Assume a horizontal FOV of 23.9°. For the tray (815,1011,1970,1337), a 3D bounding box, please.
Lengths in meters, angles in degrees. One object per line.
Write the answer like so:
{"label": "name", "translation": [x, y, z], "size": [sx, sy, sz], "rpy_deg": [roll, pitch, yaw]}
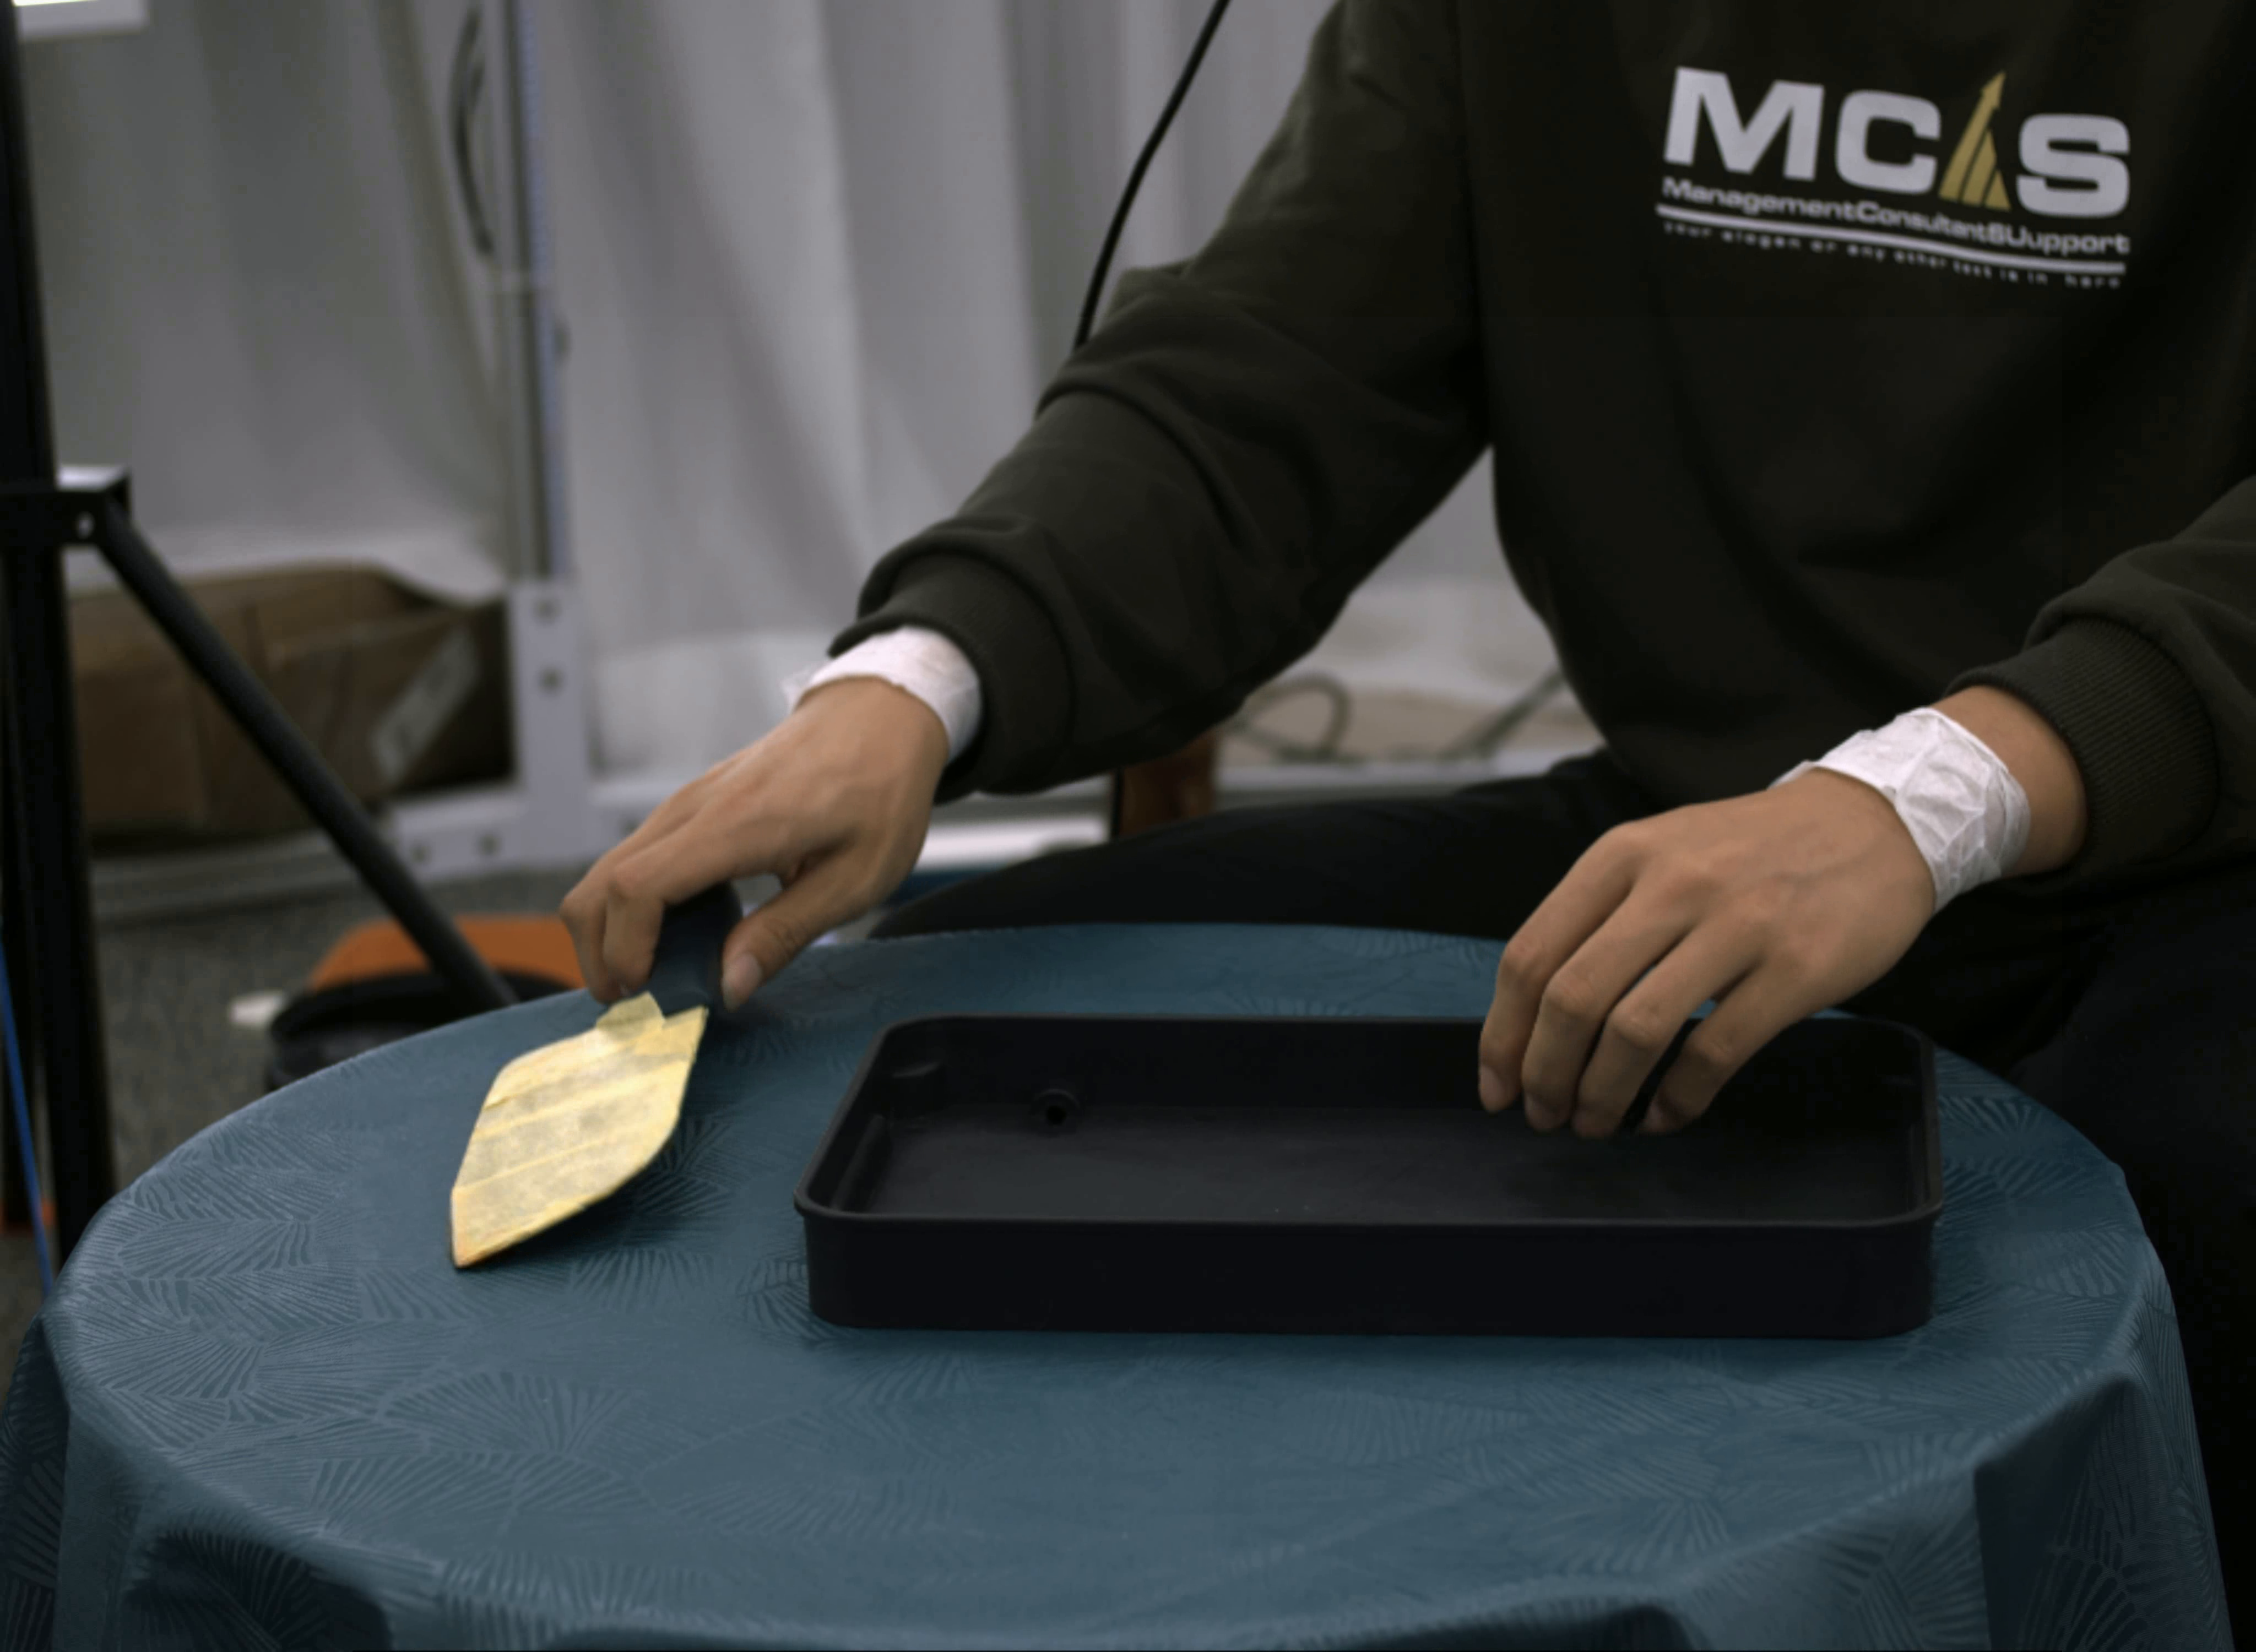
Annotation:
{"label": "tray", "translation": [0.077, 0.097, 1.519], "size": [0.318, 0.037, 0.184], "rpy_deg": [0, 15, 7]}

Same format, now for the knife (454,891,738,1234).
{"label": "knife", "translation": [-0.162, 0.074, 1.658], "size": [0.081, 0.027, 0.289], "rpy_deg": [-15, 15, 9]}
